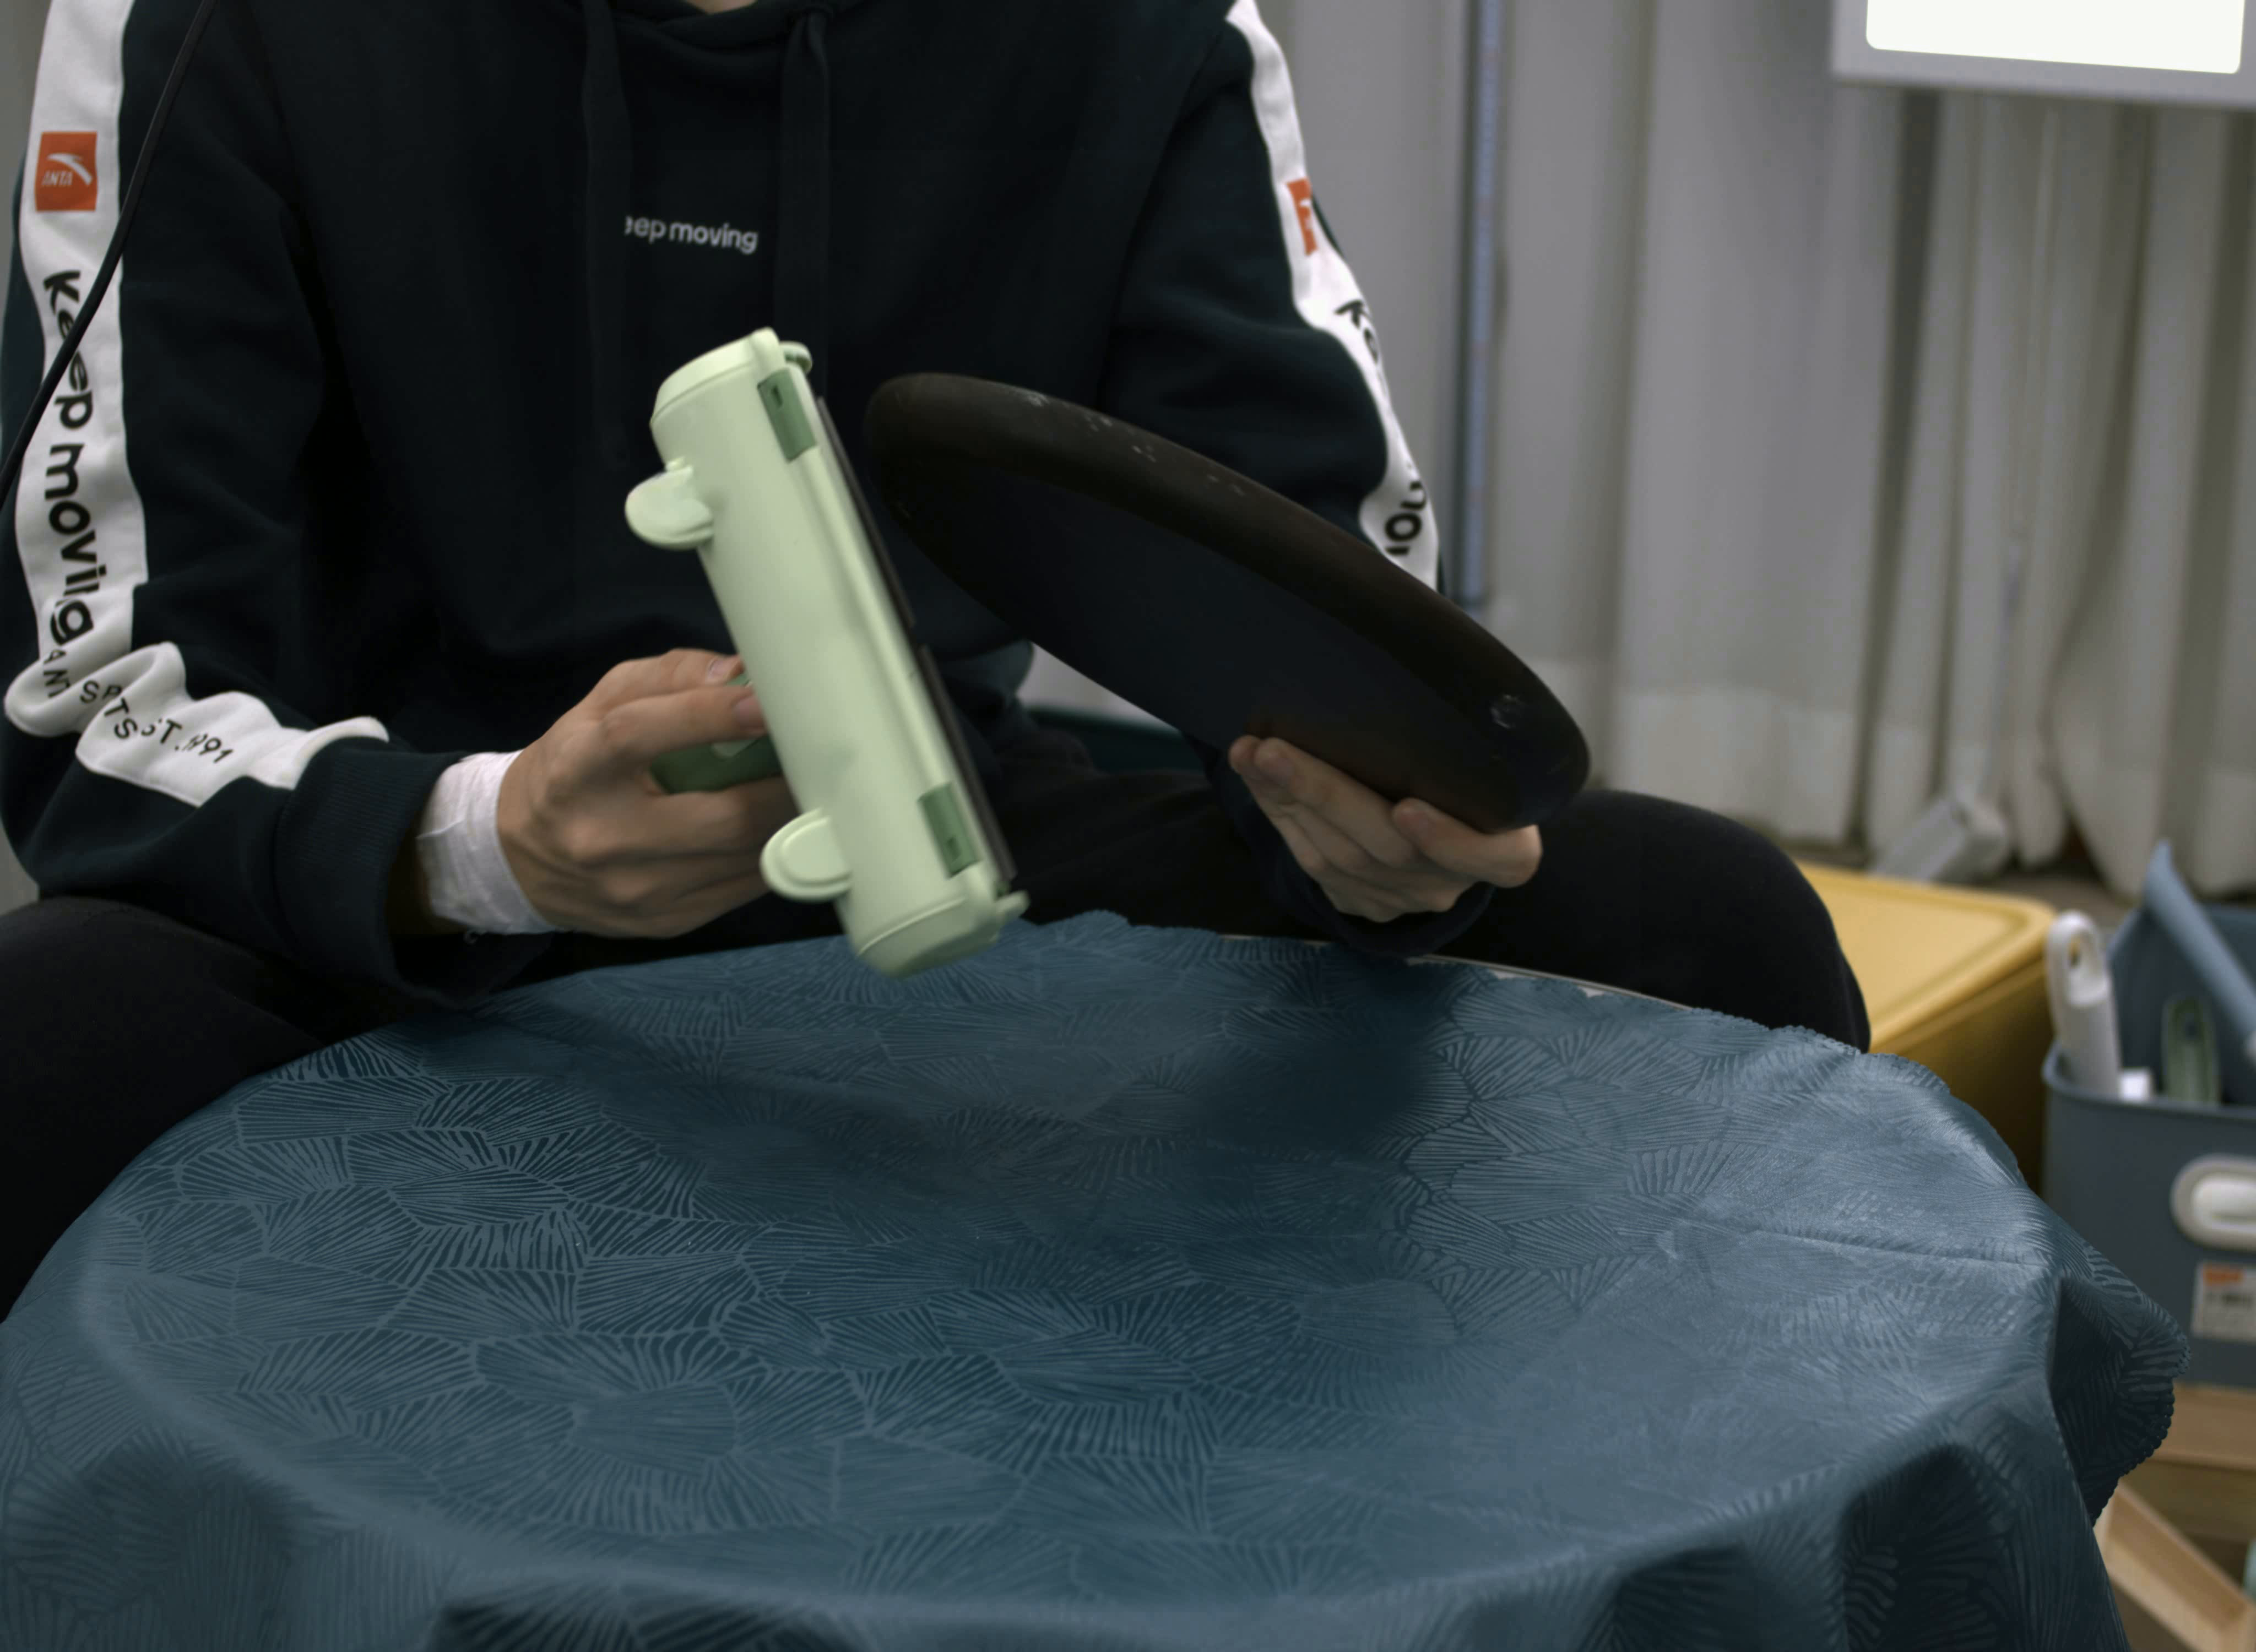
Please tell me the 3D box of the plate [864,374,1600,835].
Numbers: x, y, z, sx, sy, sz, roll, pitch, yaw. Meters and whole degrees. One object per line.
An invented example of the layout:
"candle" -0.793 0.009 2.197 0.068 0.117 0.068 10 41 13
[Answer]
"plate" 0.029 -0.064 1.628 0.253 0.029 0.256 25 -11 6

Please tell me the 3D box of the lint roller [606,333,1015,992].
"lint roller" -0.129 -0.028 1.615 0.082 0.198 0.182 -13 -12 -44
